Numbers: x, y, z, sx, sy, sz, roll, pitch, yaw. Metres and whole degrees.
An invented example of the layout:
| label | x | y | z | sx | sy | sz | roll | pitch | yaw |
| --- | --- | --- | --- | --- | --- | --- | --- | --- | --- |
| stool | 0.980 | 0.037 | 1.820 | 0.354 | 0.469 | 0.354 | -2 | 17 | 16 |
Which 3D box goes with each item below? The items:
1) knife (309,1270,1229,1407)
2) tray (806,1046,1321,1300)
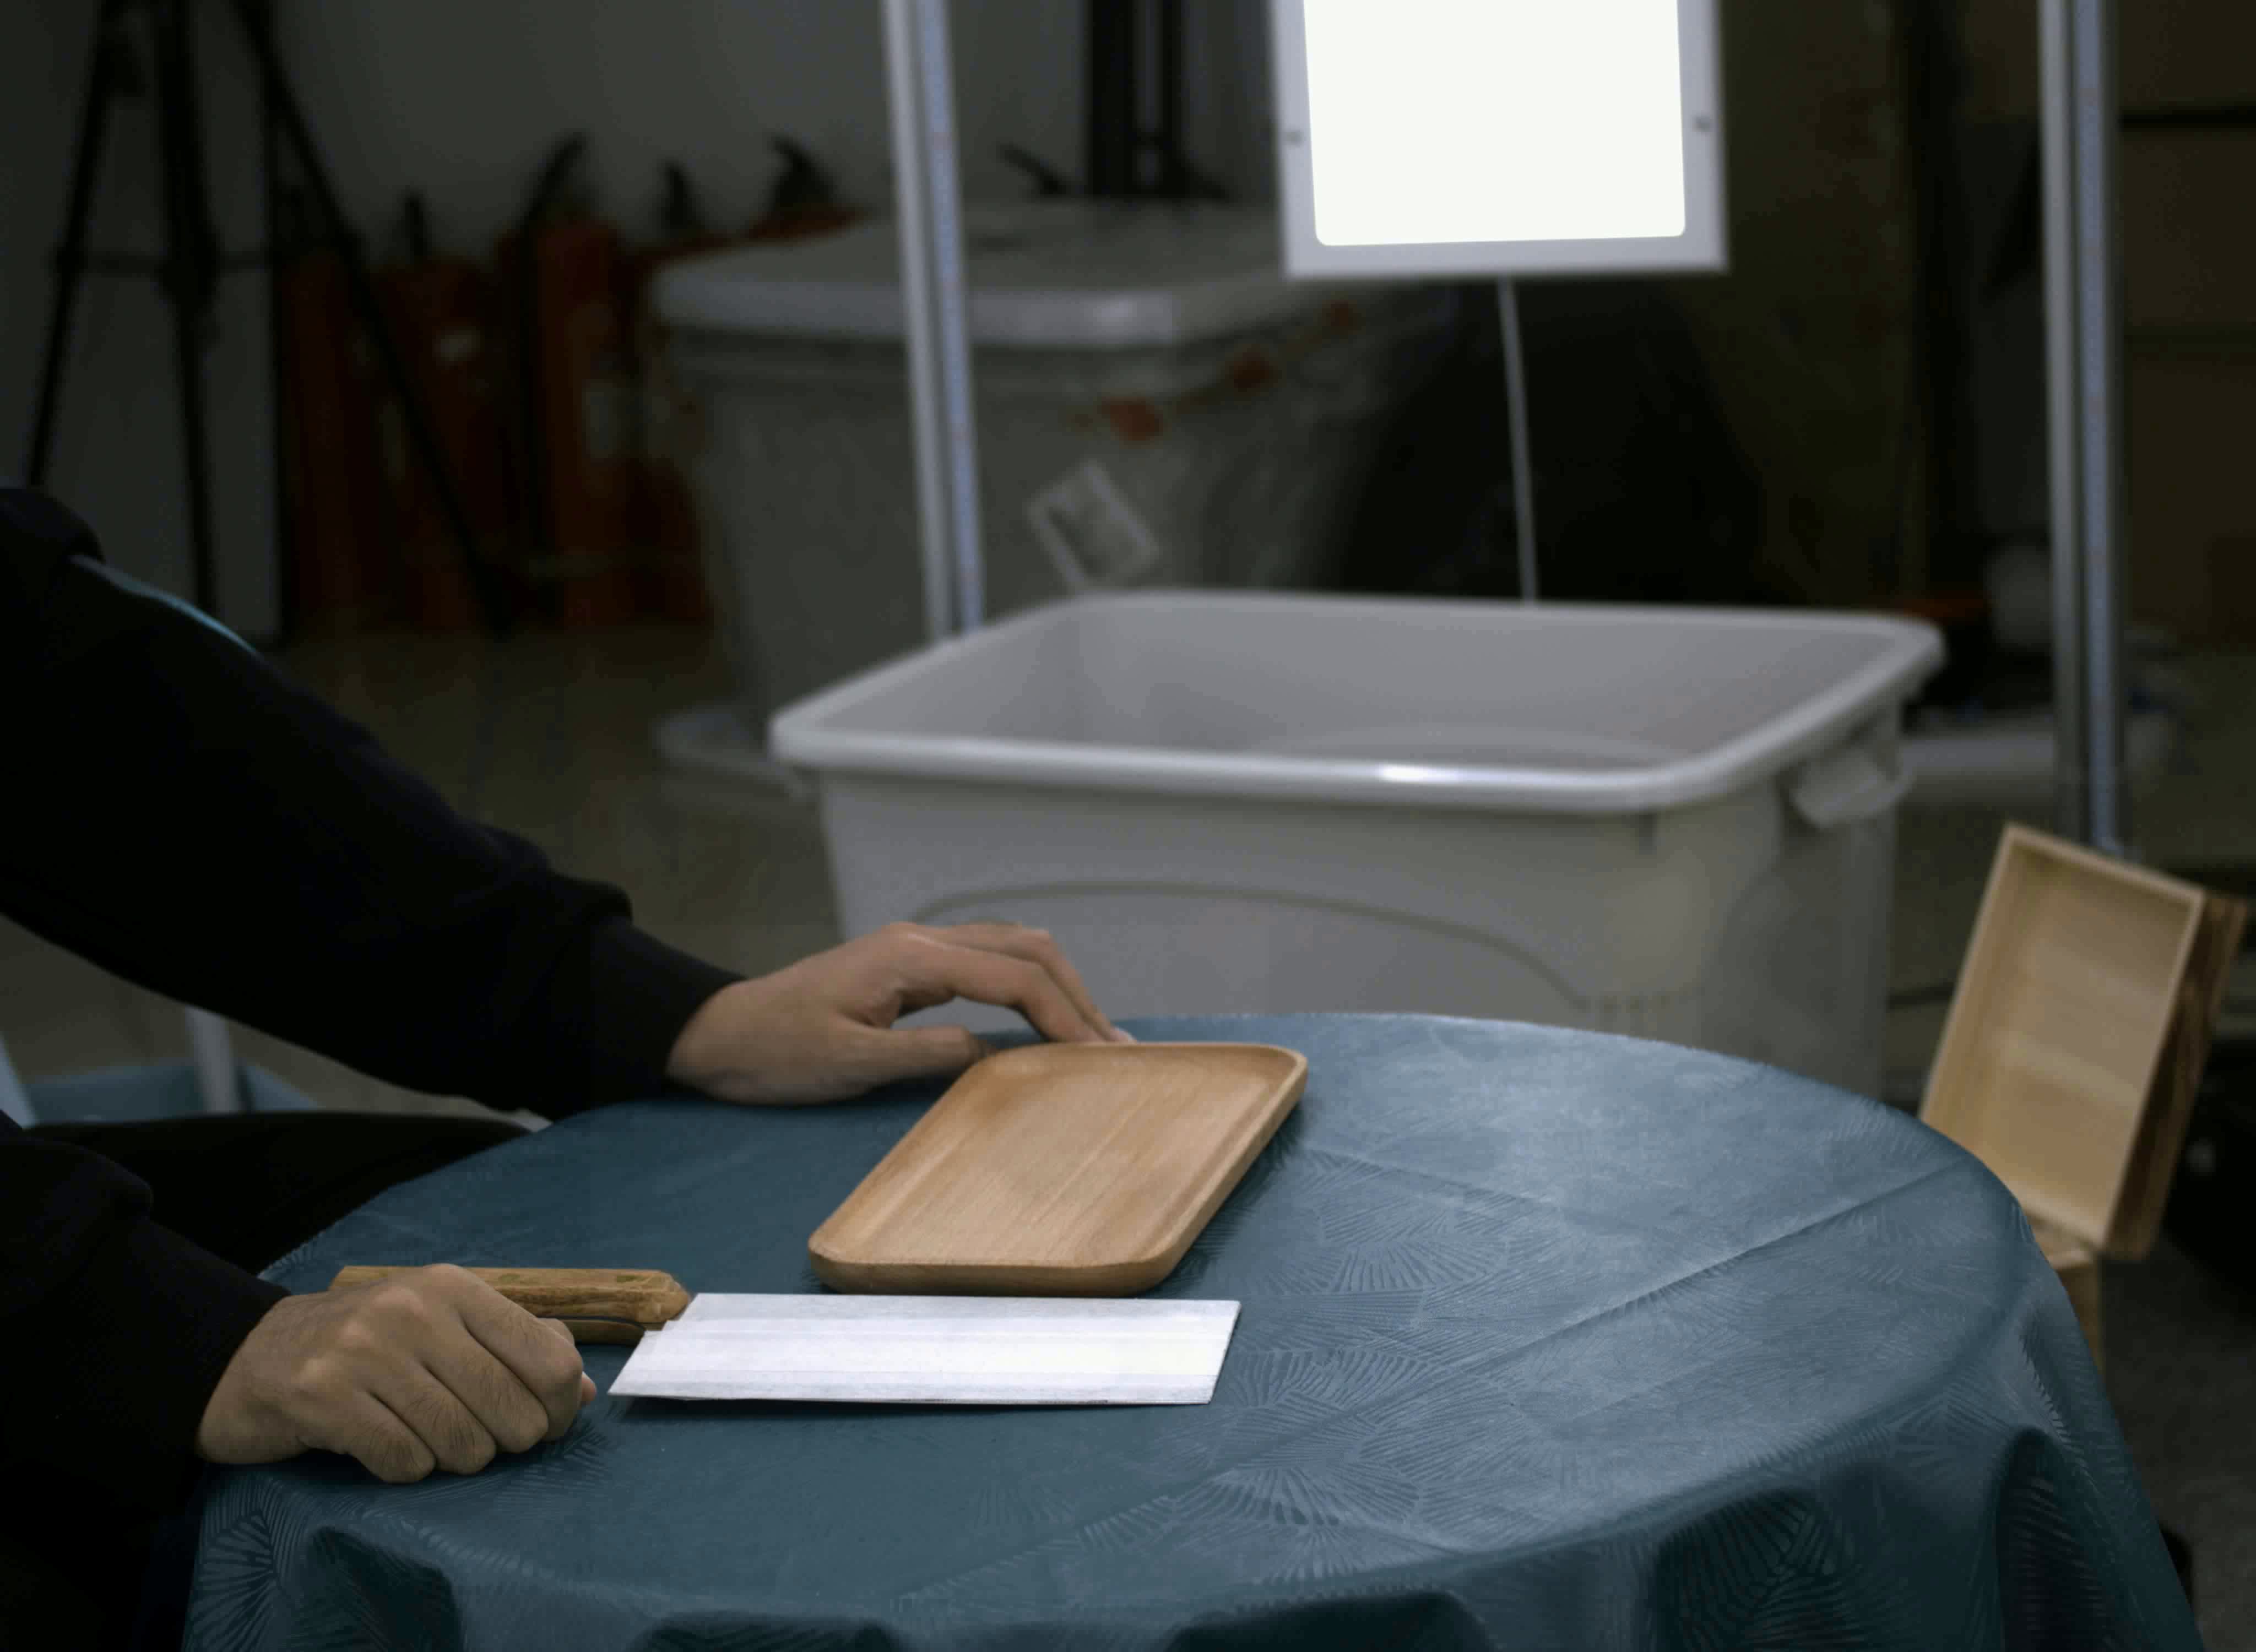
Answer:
| label | x | y | z | sx | sy | sz | roll | pitch | yaw |
| --- | --- | --- | --- | --- | --- | --- | --- | --- | --- |
| knife | -0.119 | 0.165 | 1.754 | 0.307 | 0.021 | 0.092 | 0 | 16 | 10 |
| tray | -0.018 | 0.118 | 1.906 | 0.132 | 0.023 | 0.247 | 2 | 14 | 17 |
